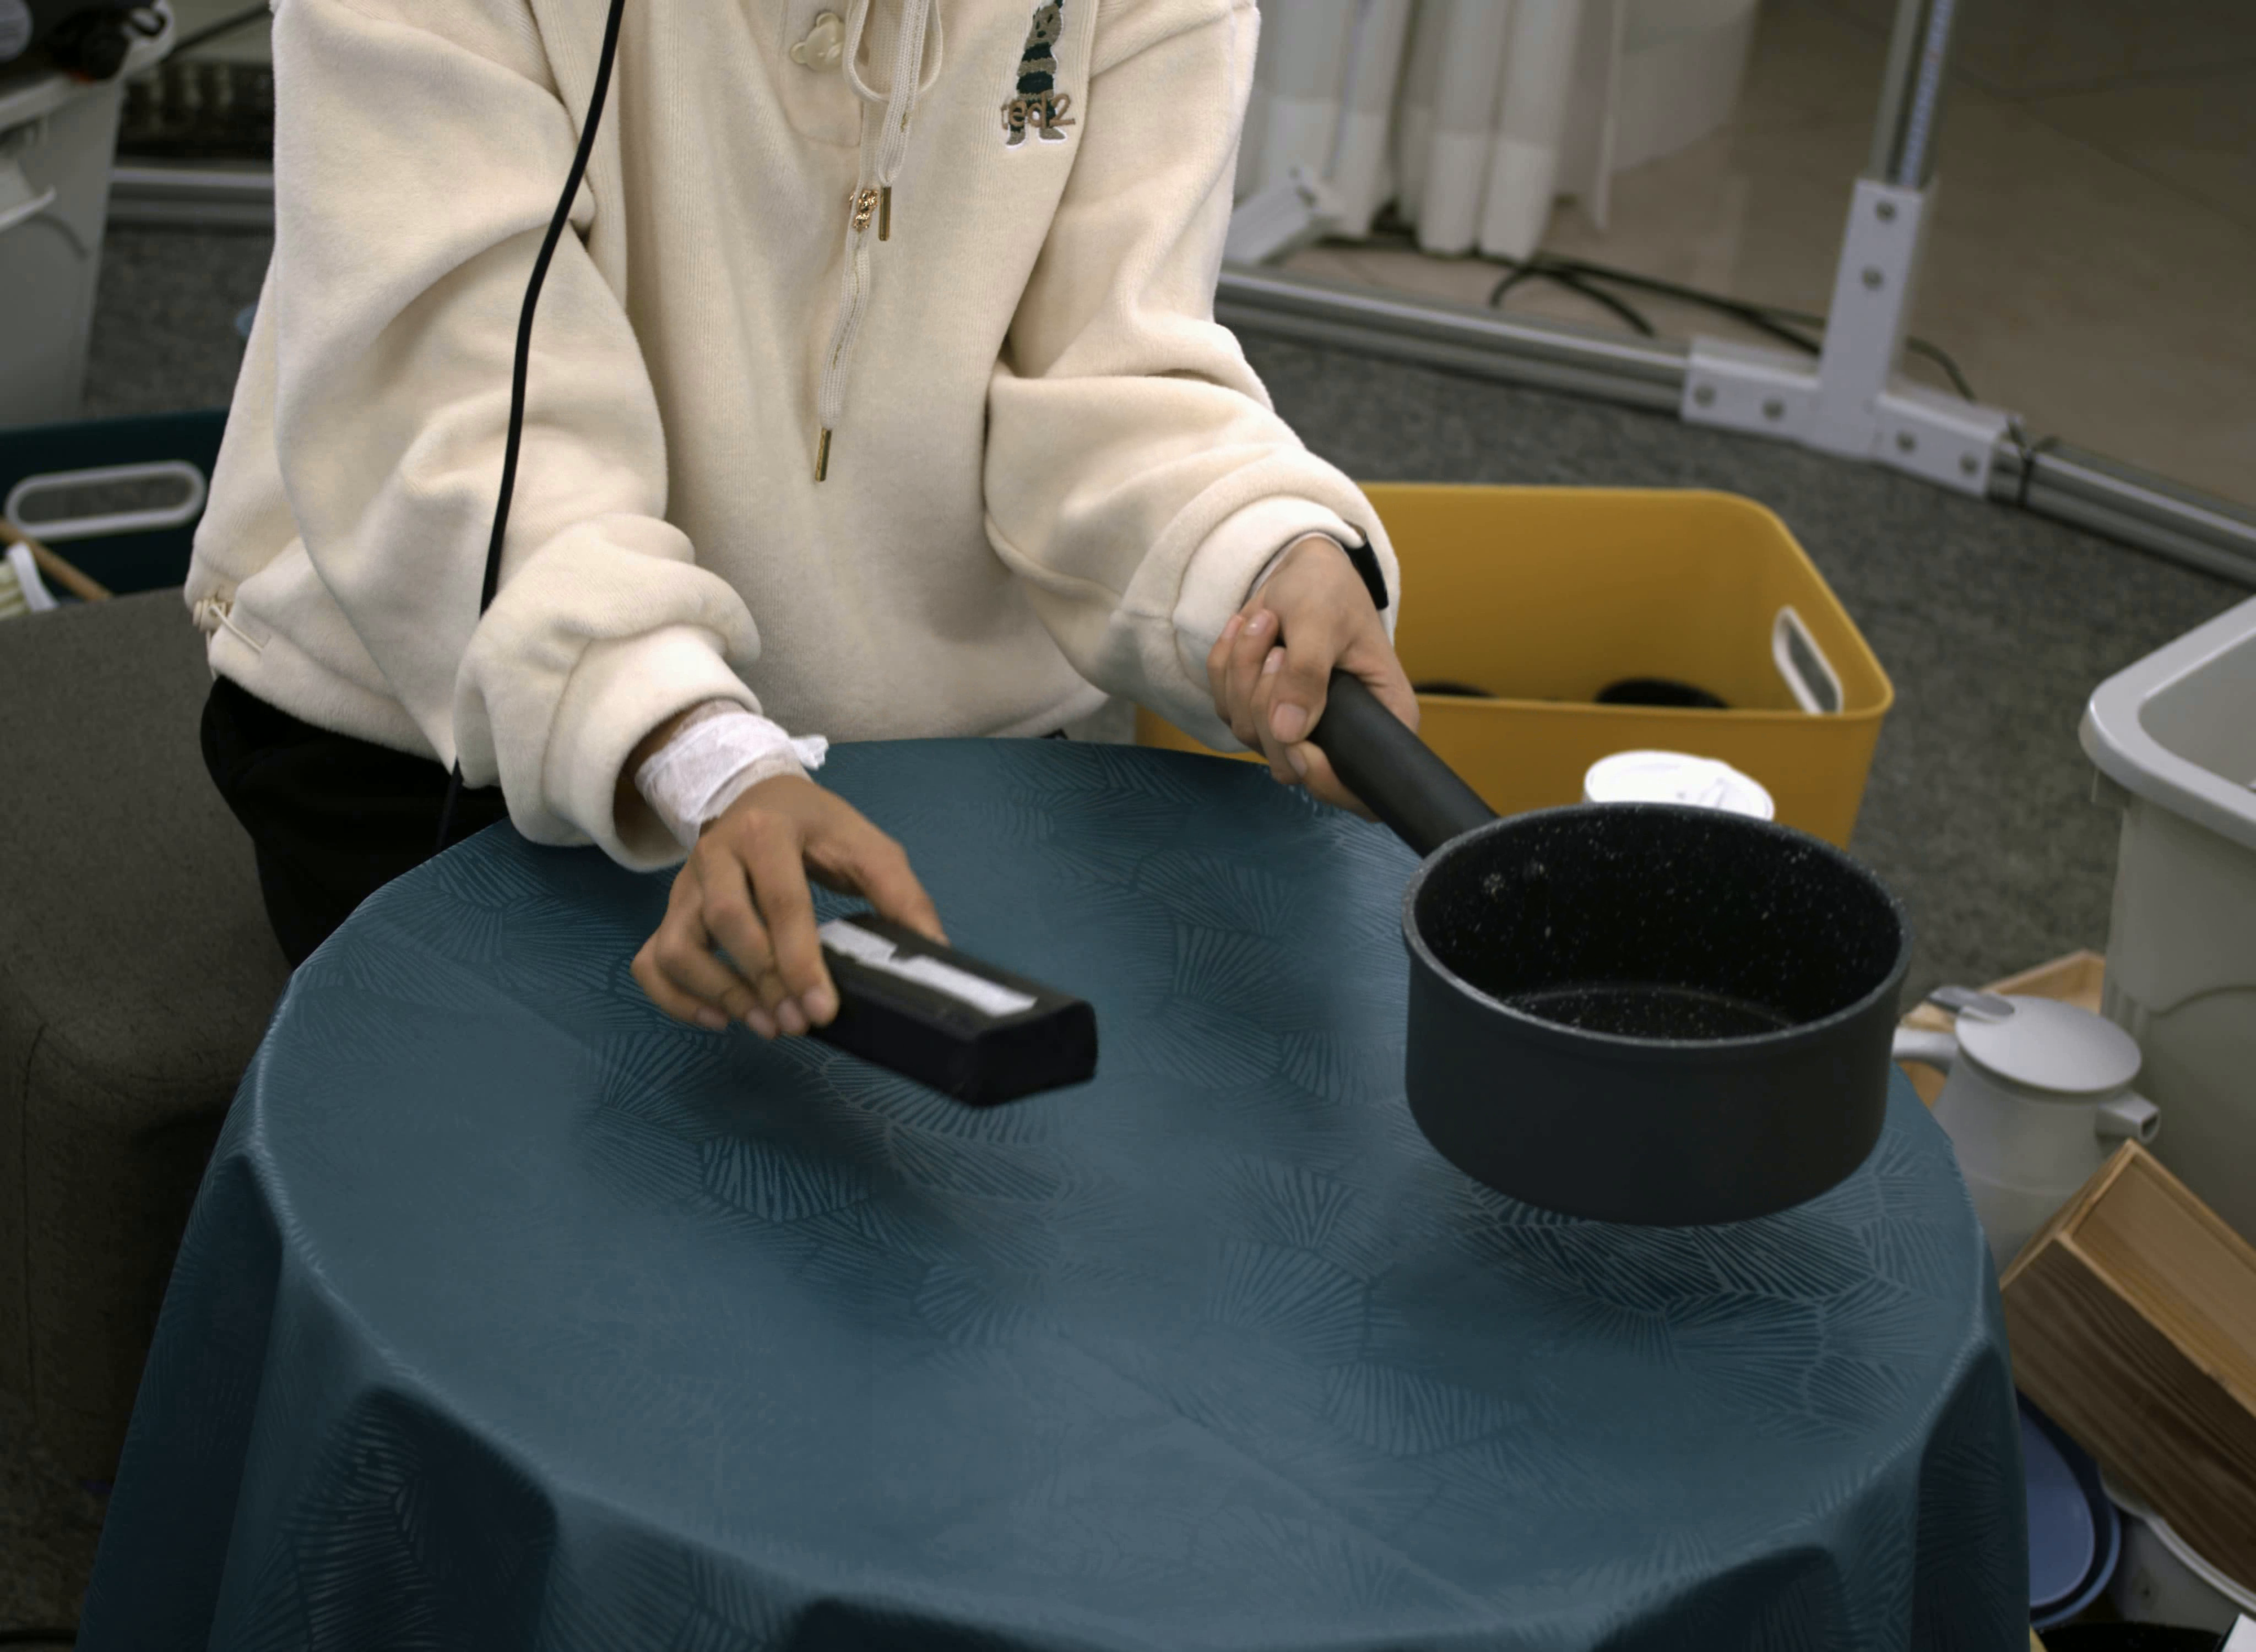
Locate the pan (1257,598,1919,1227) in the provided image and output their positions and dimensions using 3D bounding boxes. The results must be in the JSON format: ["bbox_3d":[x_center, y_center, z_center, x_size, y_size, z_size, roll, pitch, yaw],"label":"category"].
[{"bbox_3d":[0.137,0.025,1.847,0.171,0.086,0.332,-14,33,-26],"label":"pan"}]

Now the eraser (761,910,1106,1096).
[{"bbox_3d":[-0.065,0.058,1.781,0.053,0.030,0.126,-14,21,-37],"label":"eraser"}]
